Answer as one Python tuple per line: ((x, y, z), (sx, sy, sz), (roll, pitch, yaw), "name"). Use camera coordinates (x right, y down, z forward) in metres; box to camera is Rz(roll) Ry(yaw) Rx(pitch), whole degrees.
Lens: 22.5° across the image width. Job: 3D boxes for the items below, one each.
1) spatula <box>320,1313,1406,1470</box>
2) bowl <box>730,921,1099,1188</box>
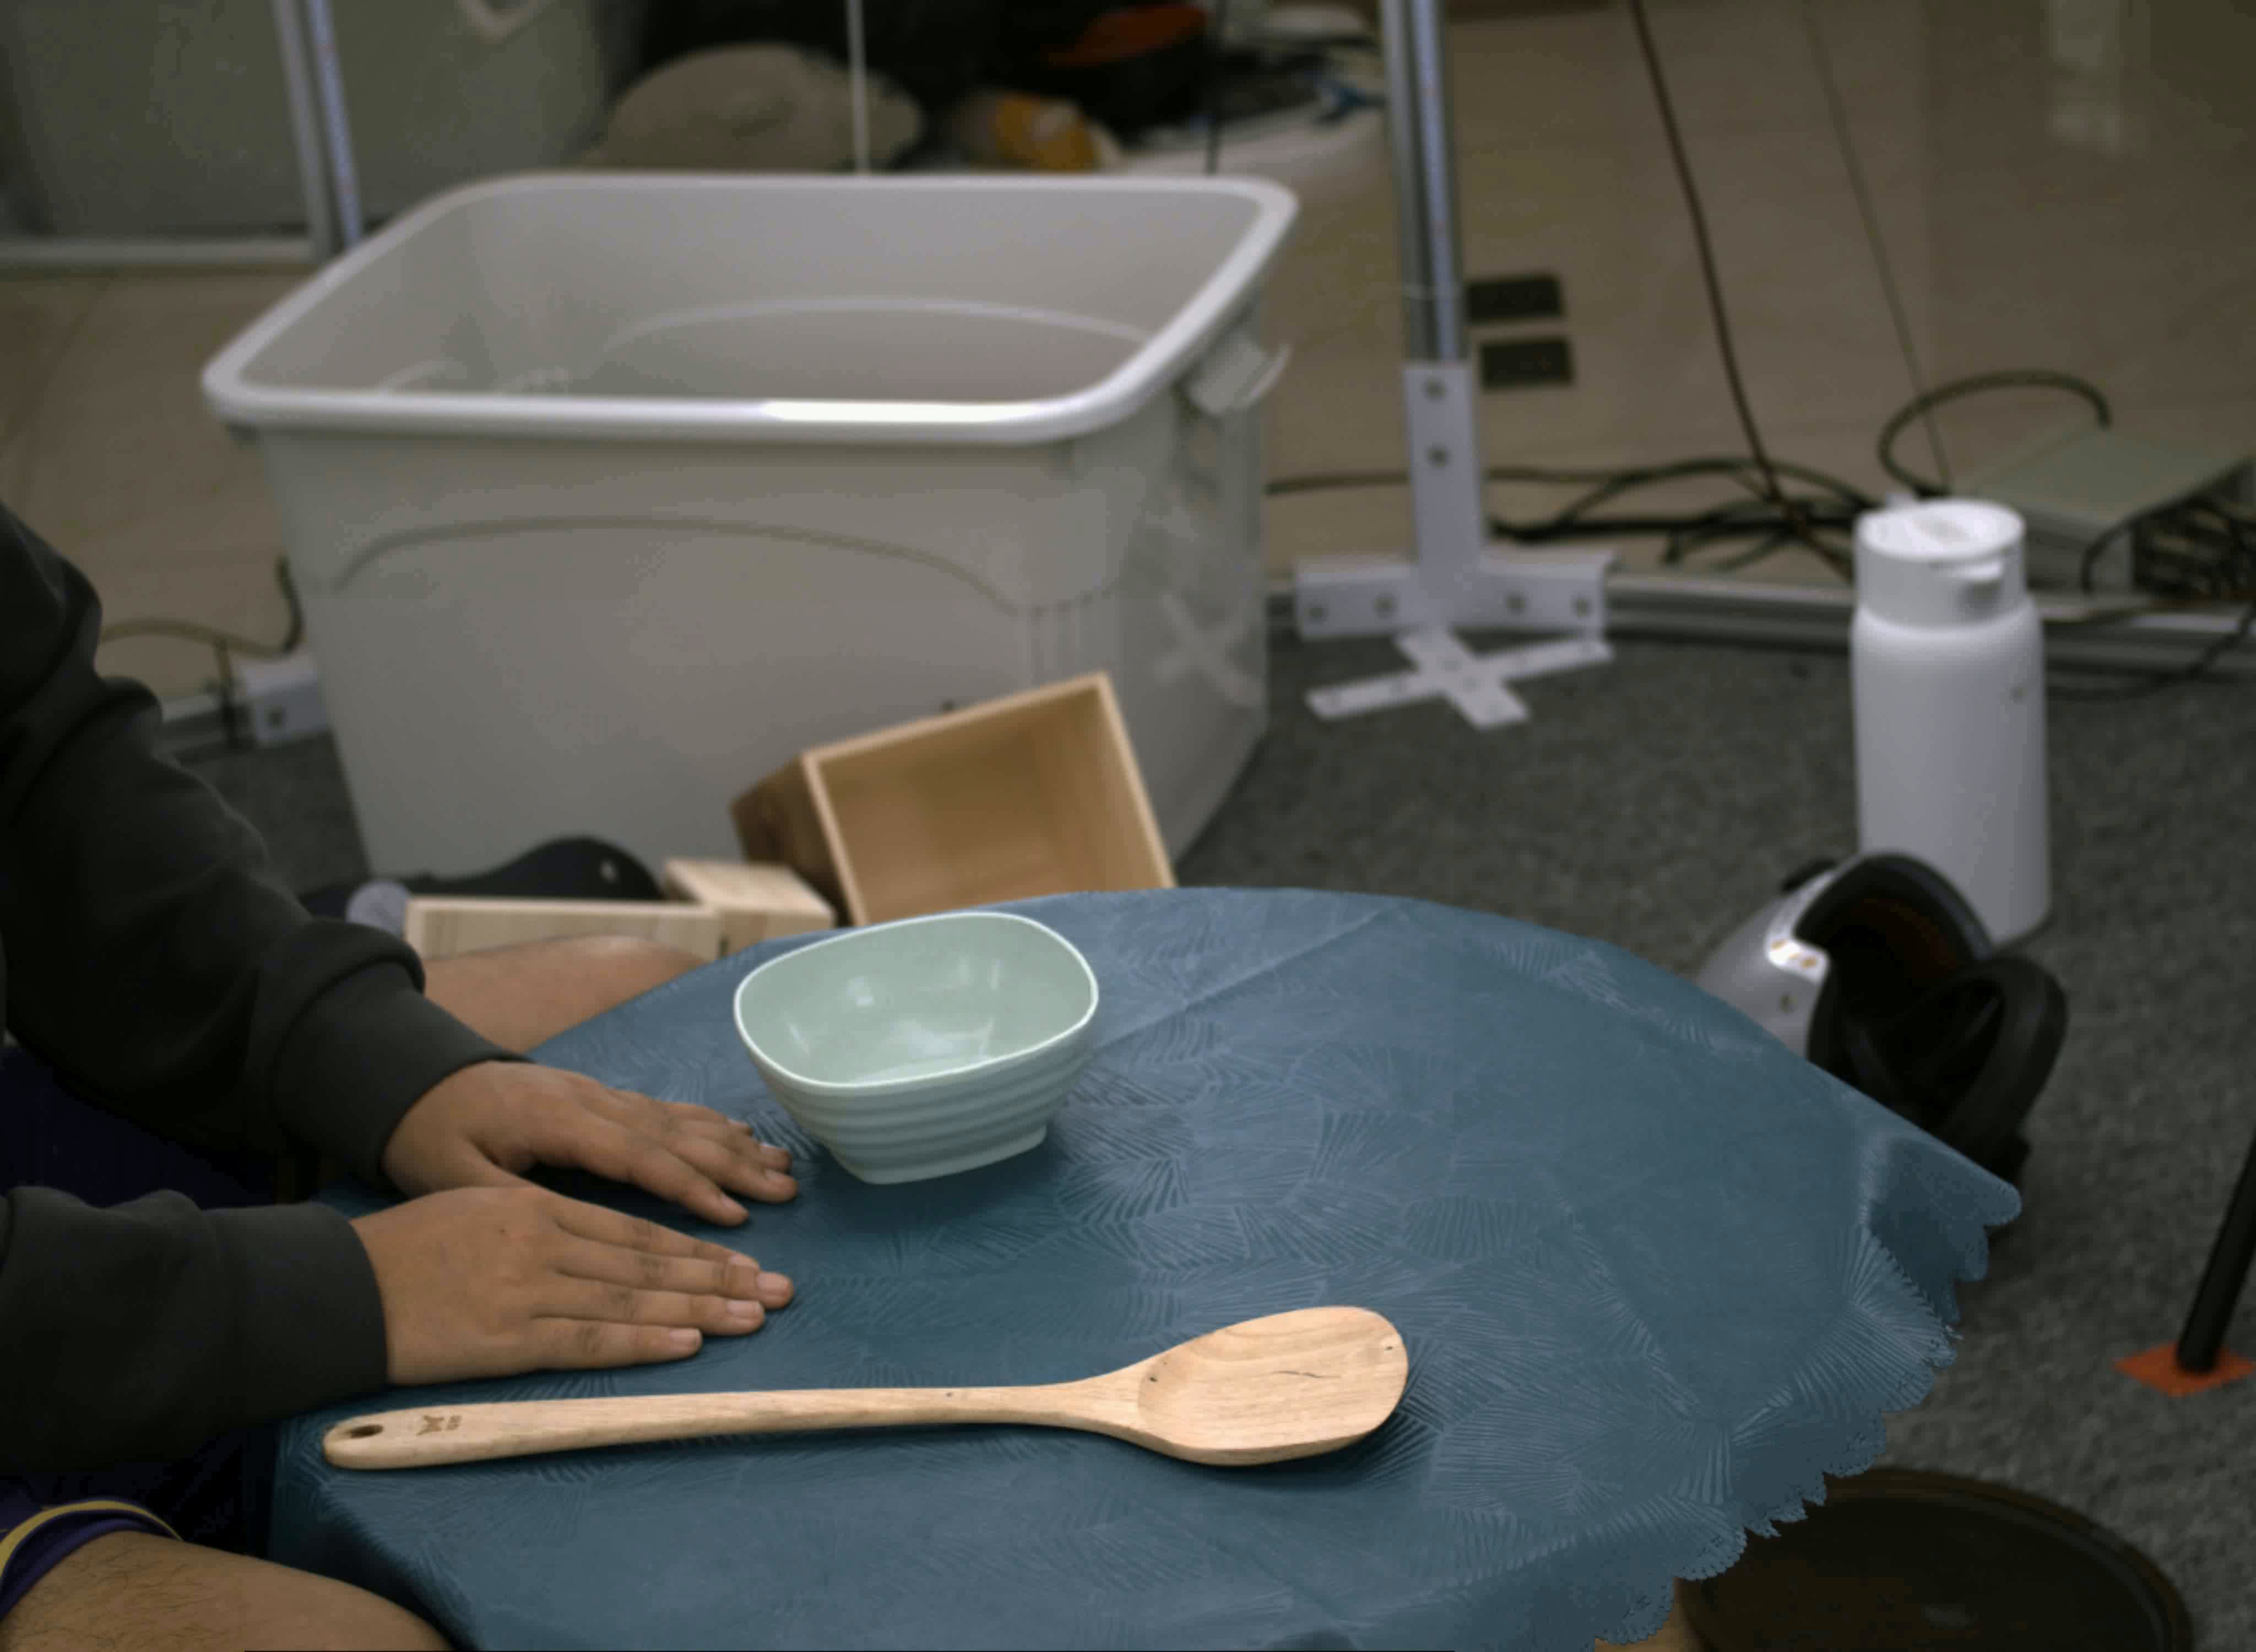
((-0.096, 0.208, 2.001), (0.390, 0.019, 0.094), (-3, 23, 7), "spatula")
((-0.081, 0.094, 2.200), (0.151, 0.059, 0.149), (-4, 24, 2), "bowl")
